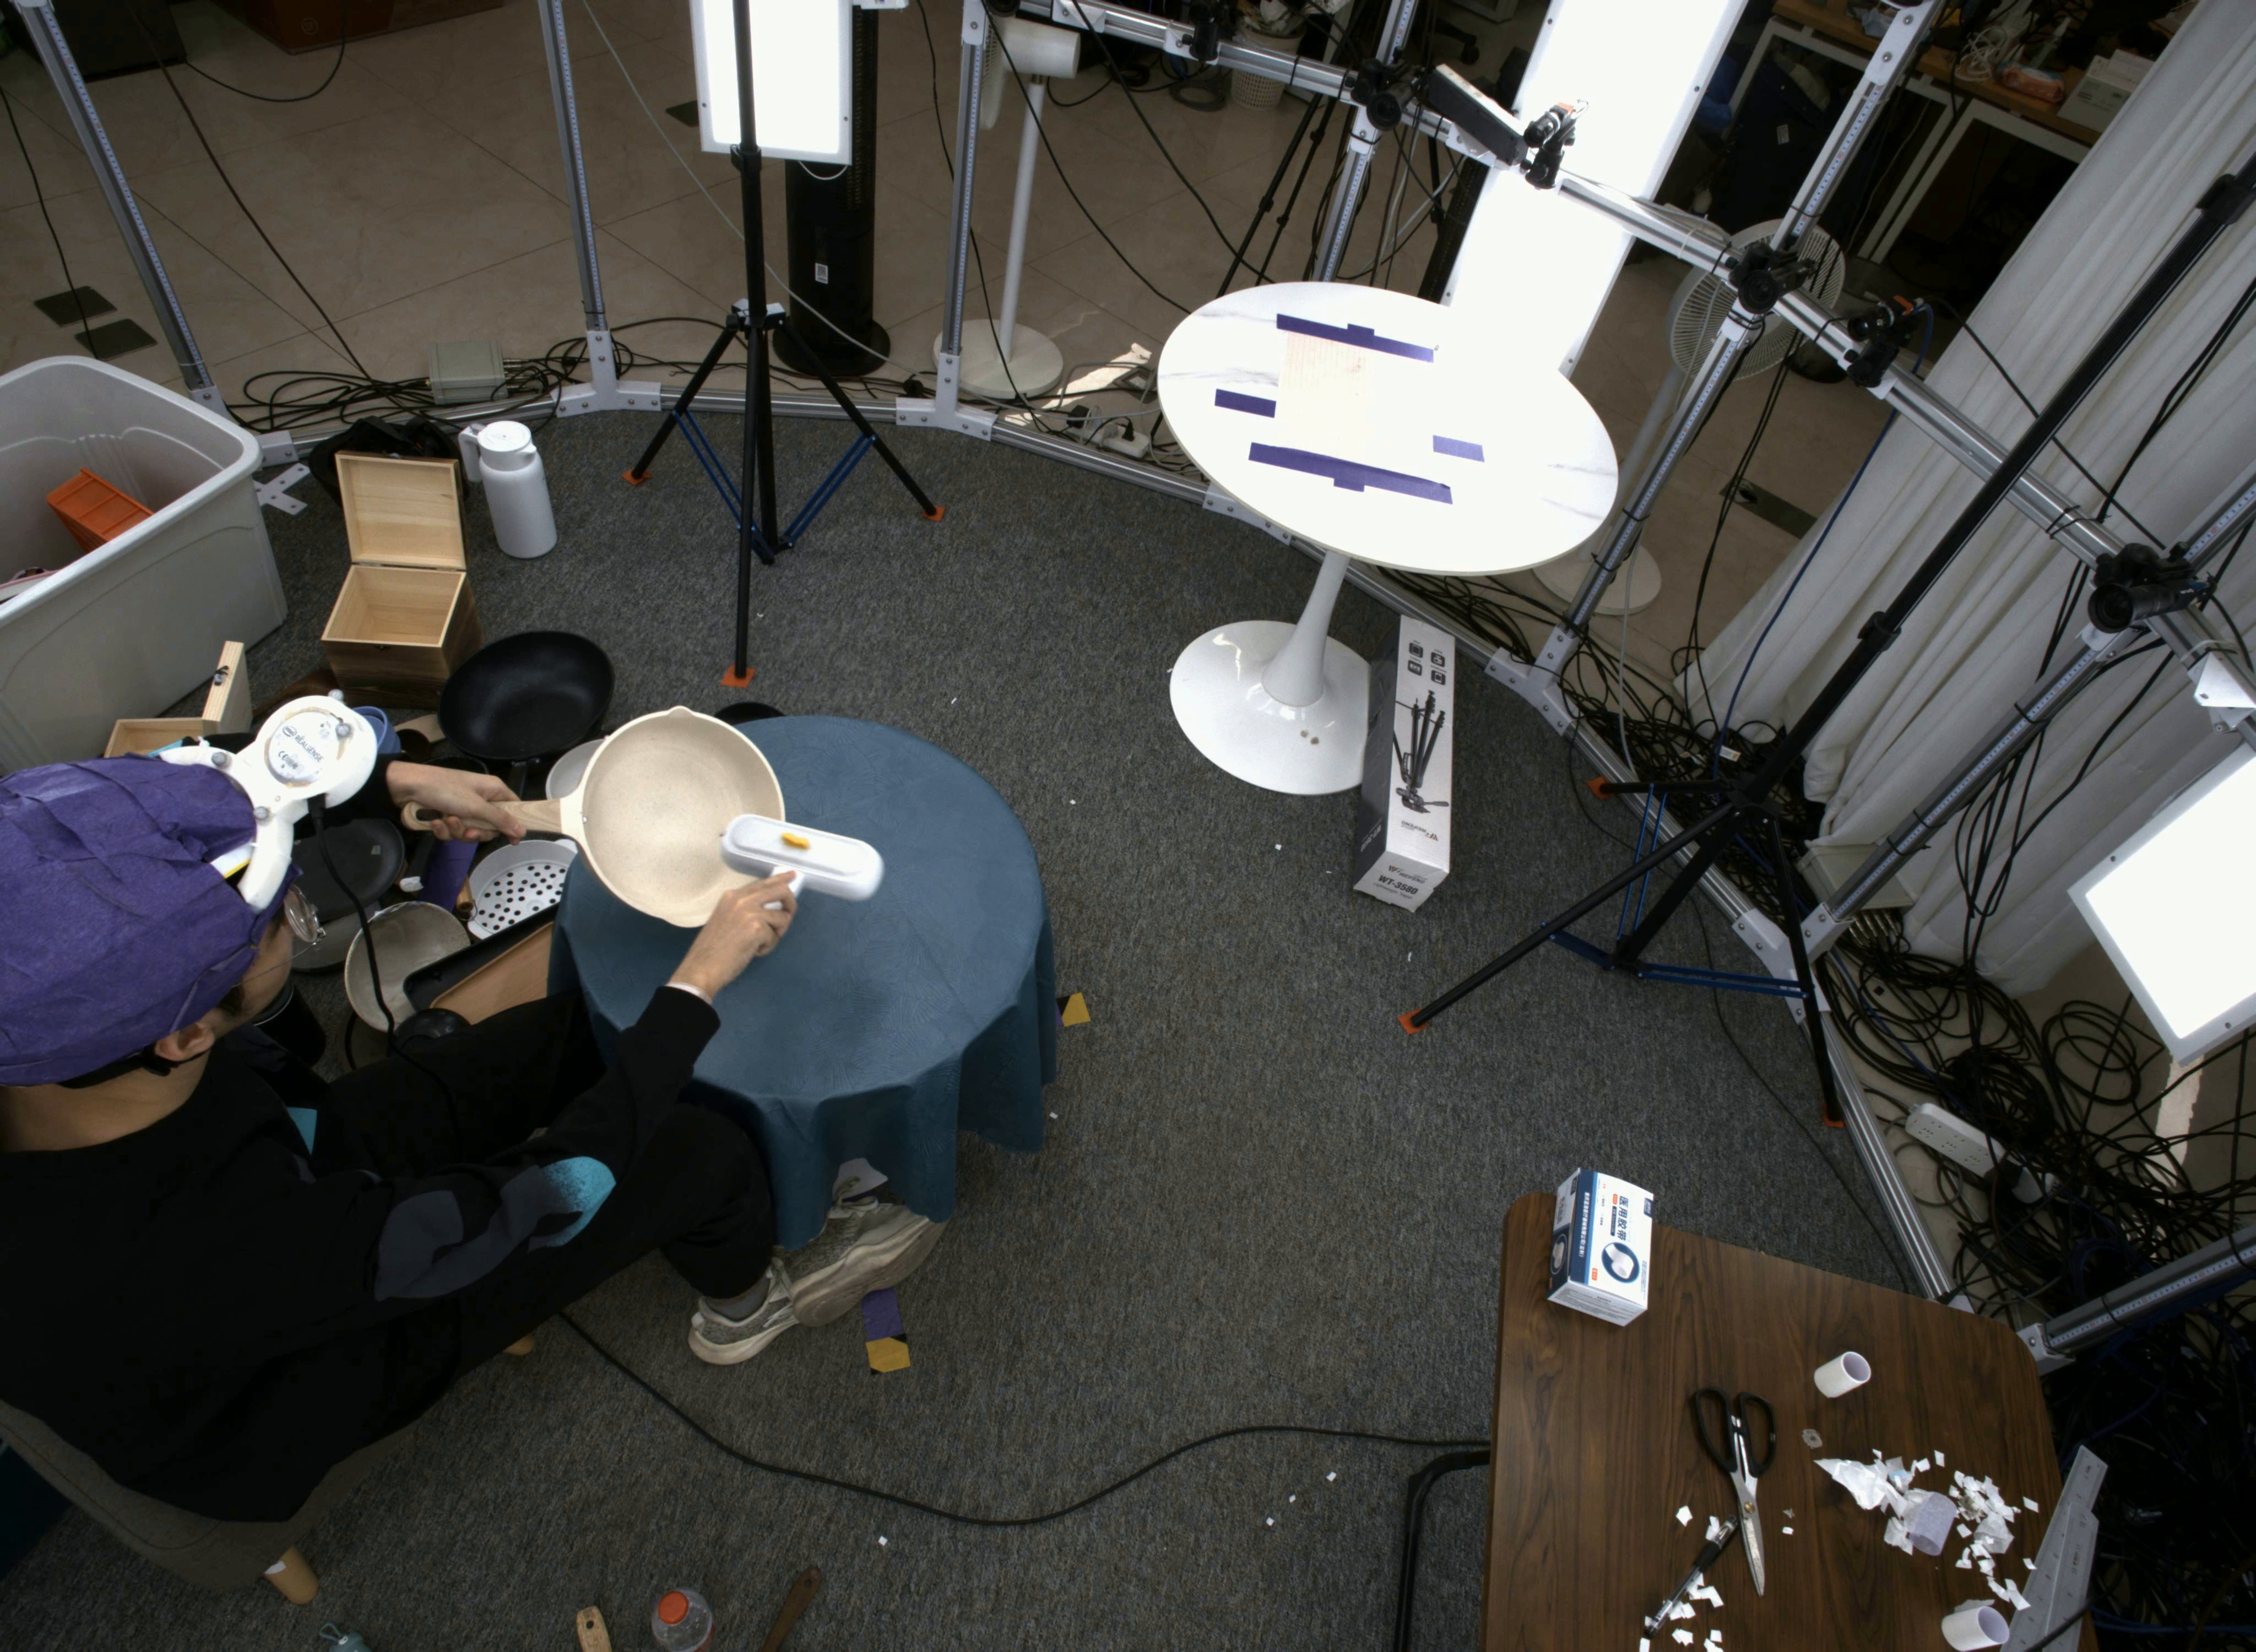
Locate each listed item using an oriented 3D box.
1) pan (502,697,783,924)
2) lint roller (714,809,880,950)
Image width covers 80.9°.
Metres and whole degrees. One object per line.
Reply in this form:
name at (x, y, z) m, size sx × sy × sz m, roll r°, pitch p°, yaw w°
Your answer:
pan at (-0.614, -0.015, 1.477) m, size 0.443 × 0.099 × 0.266 m, roll -2°, pitch 89°, yaw -40°
lint roller at (-0.394, 0.070, 1.465) m, size 0.192 × 0.076 × 0.190 m, roll 15°, pitch 50°, yaw -3°
